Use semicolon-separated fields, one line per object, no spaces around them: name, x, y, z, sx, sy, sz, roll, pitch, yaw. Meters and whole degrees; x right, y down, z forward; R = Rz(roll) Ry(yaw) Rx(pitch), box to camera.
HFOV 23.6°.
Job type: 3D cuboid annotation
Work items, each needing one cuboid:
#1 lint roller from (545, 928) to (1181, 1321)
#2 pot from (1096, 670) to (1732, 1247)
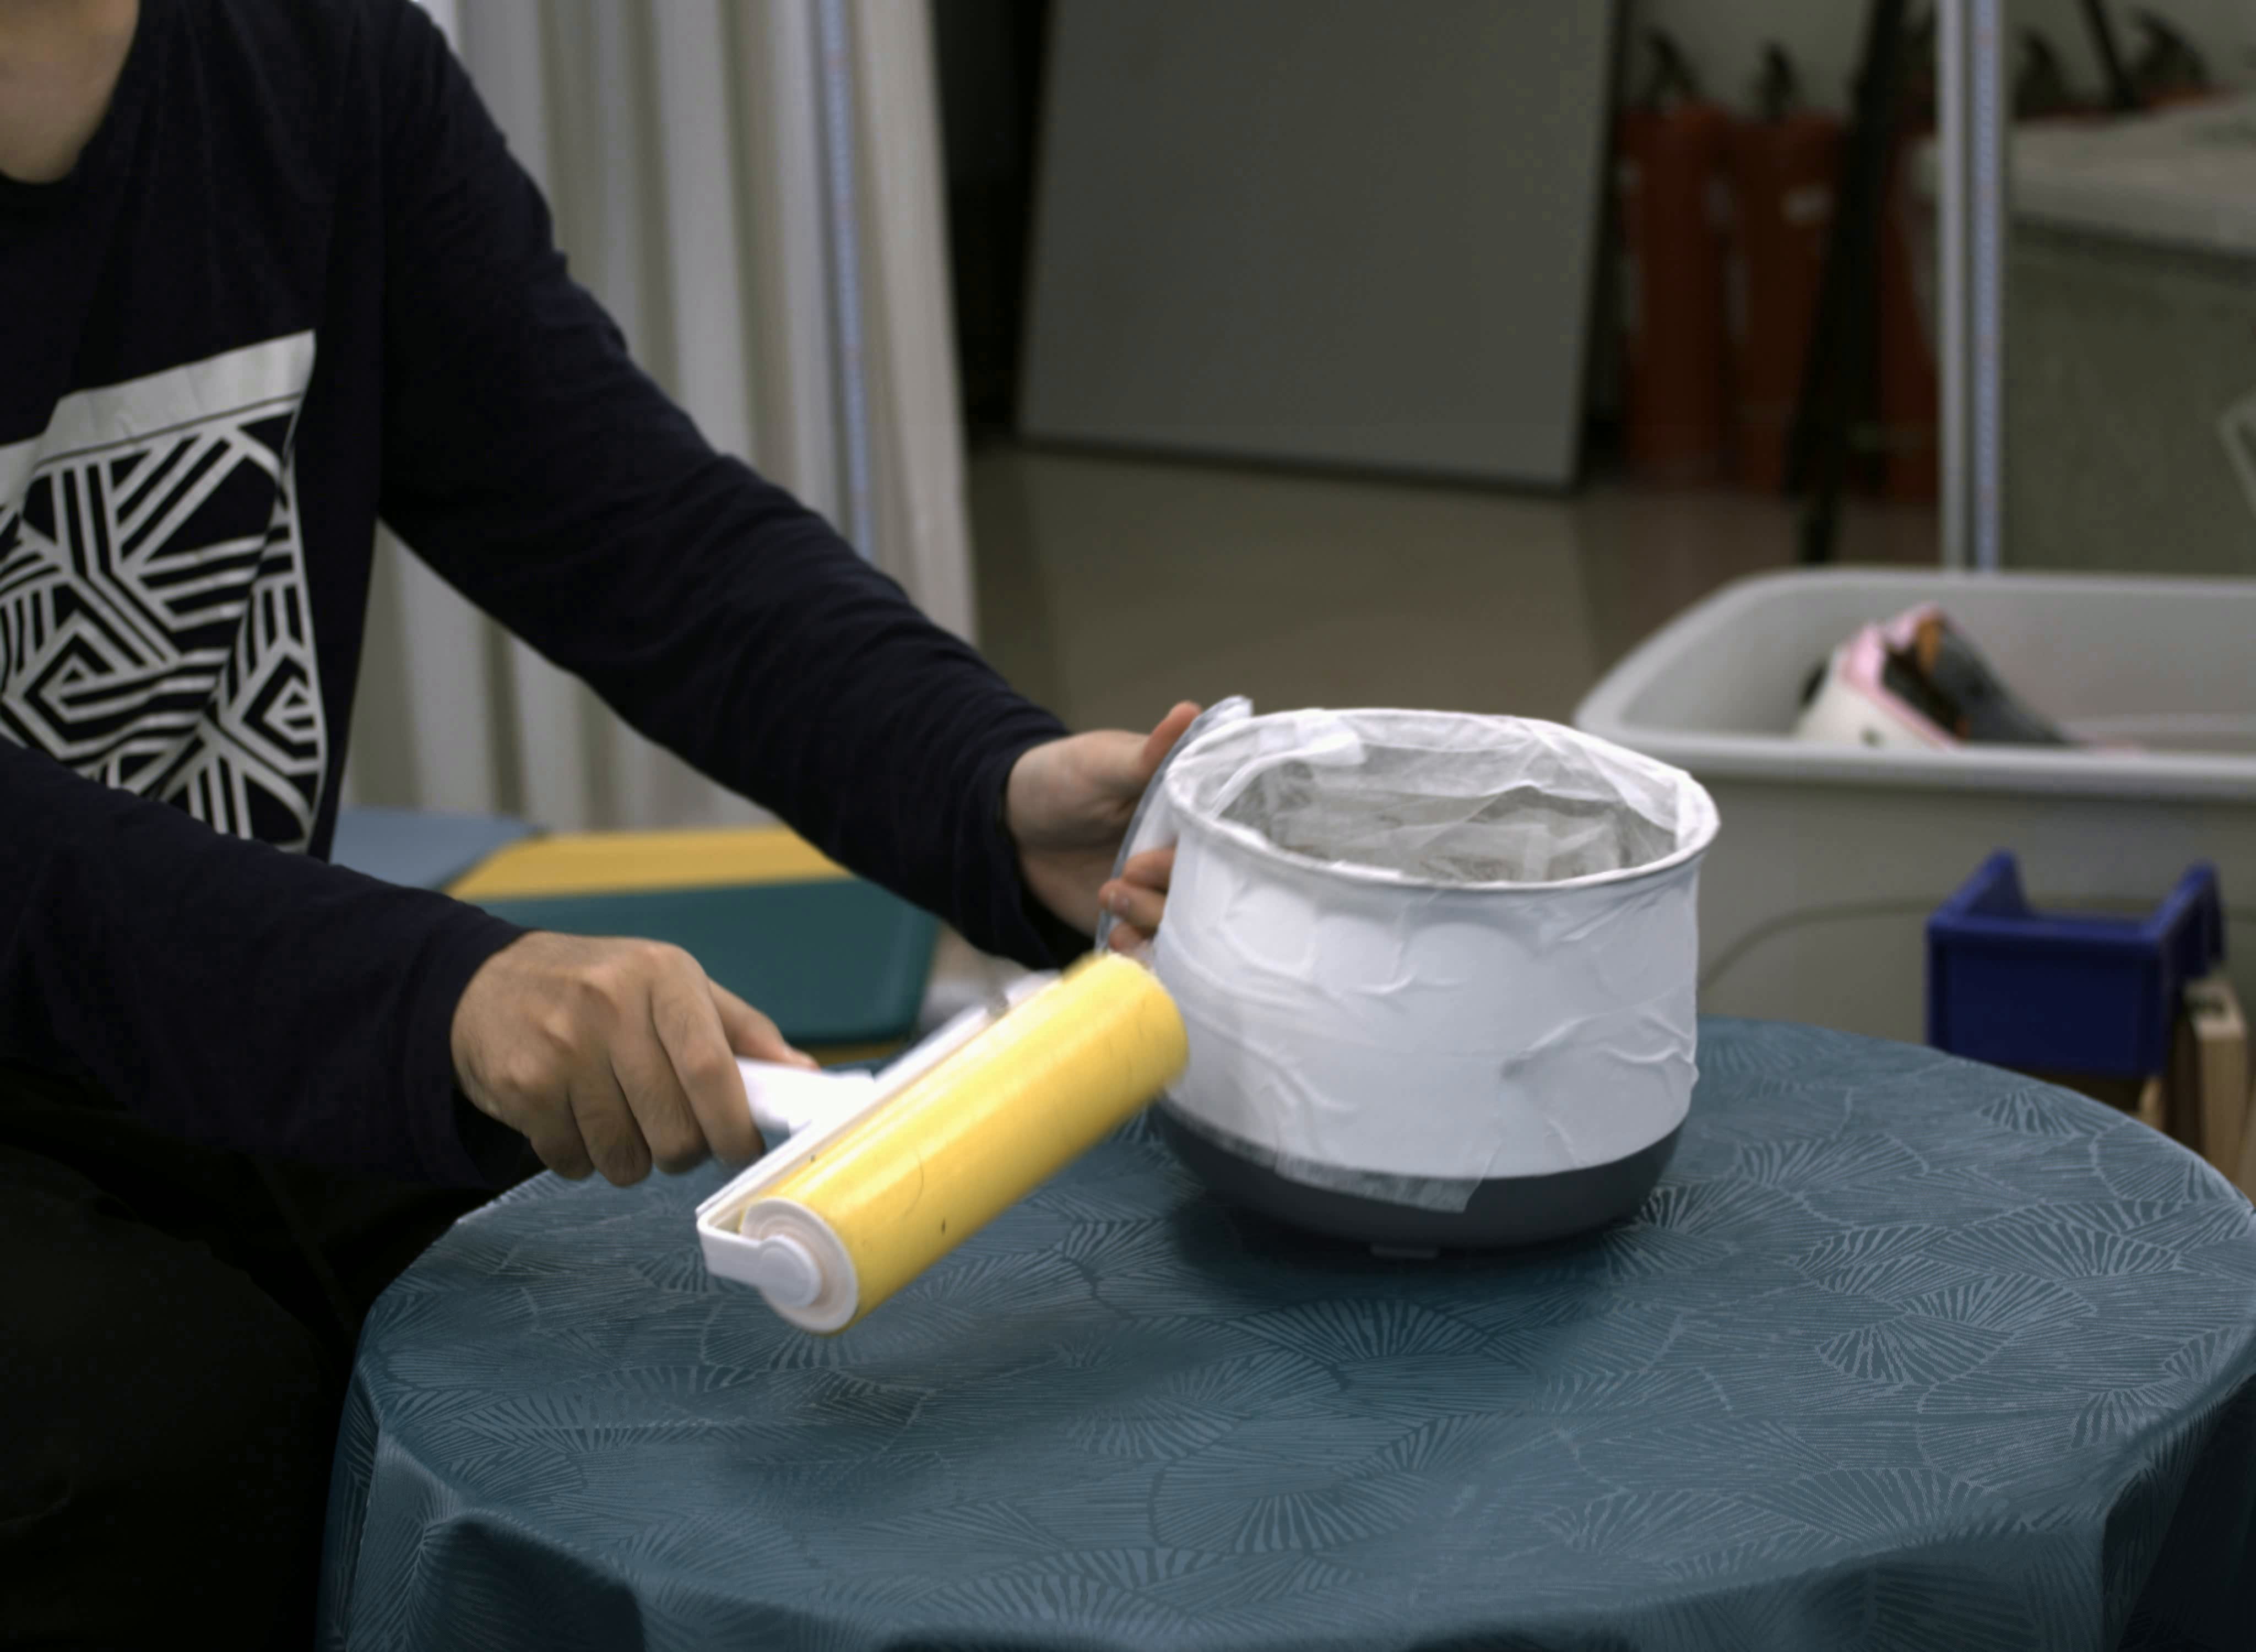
lint roller;-0.105;0.075;1.649;0.193;0.052;0.172;14;35;34
pot;0.078;0.036;1.738;0.175;0.138;0.236;-9;23;-42
